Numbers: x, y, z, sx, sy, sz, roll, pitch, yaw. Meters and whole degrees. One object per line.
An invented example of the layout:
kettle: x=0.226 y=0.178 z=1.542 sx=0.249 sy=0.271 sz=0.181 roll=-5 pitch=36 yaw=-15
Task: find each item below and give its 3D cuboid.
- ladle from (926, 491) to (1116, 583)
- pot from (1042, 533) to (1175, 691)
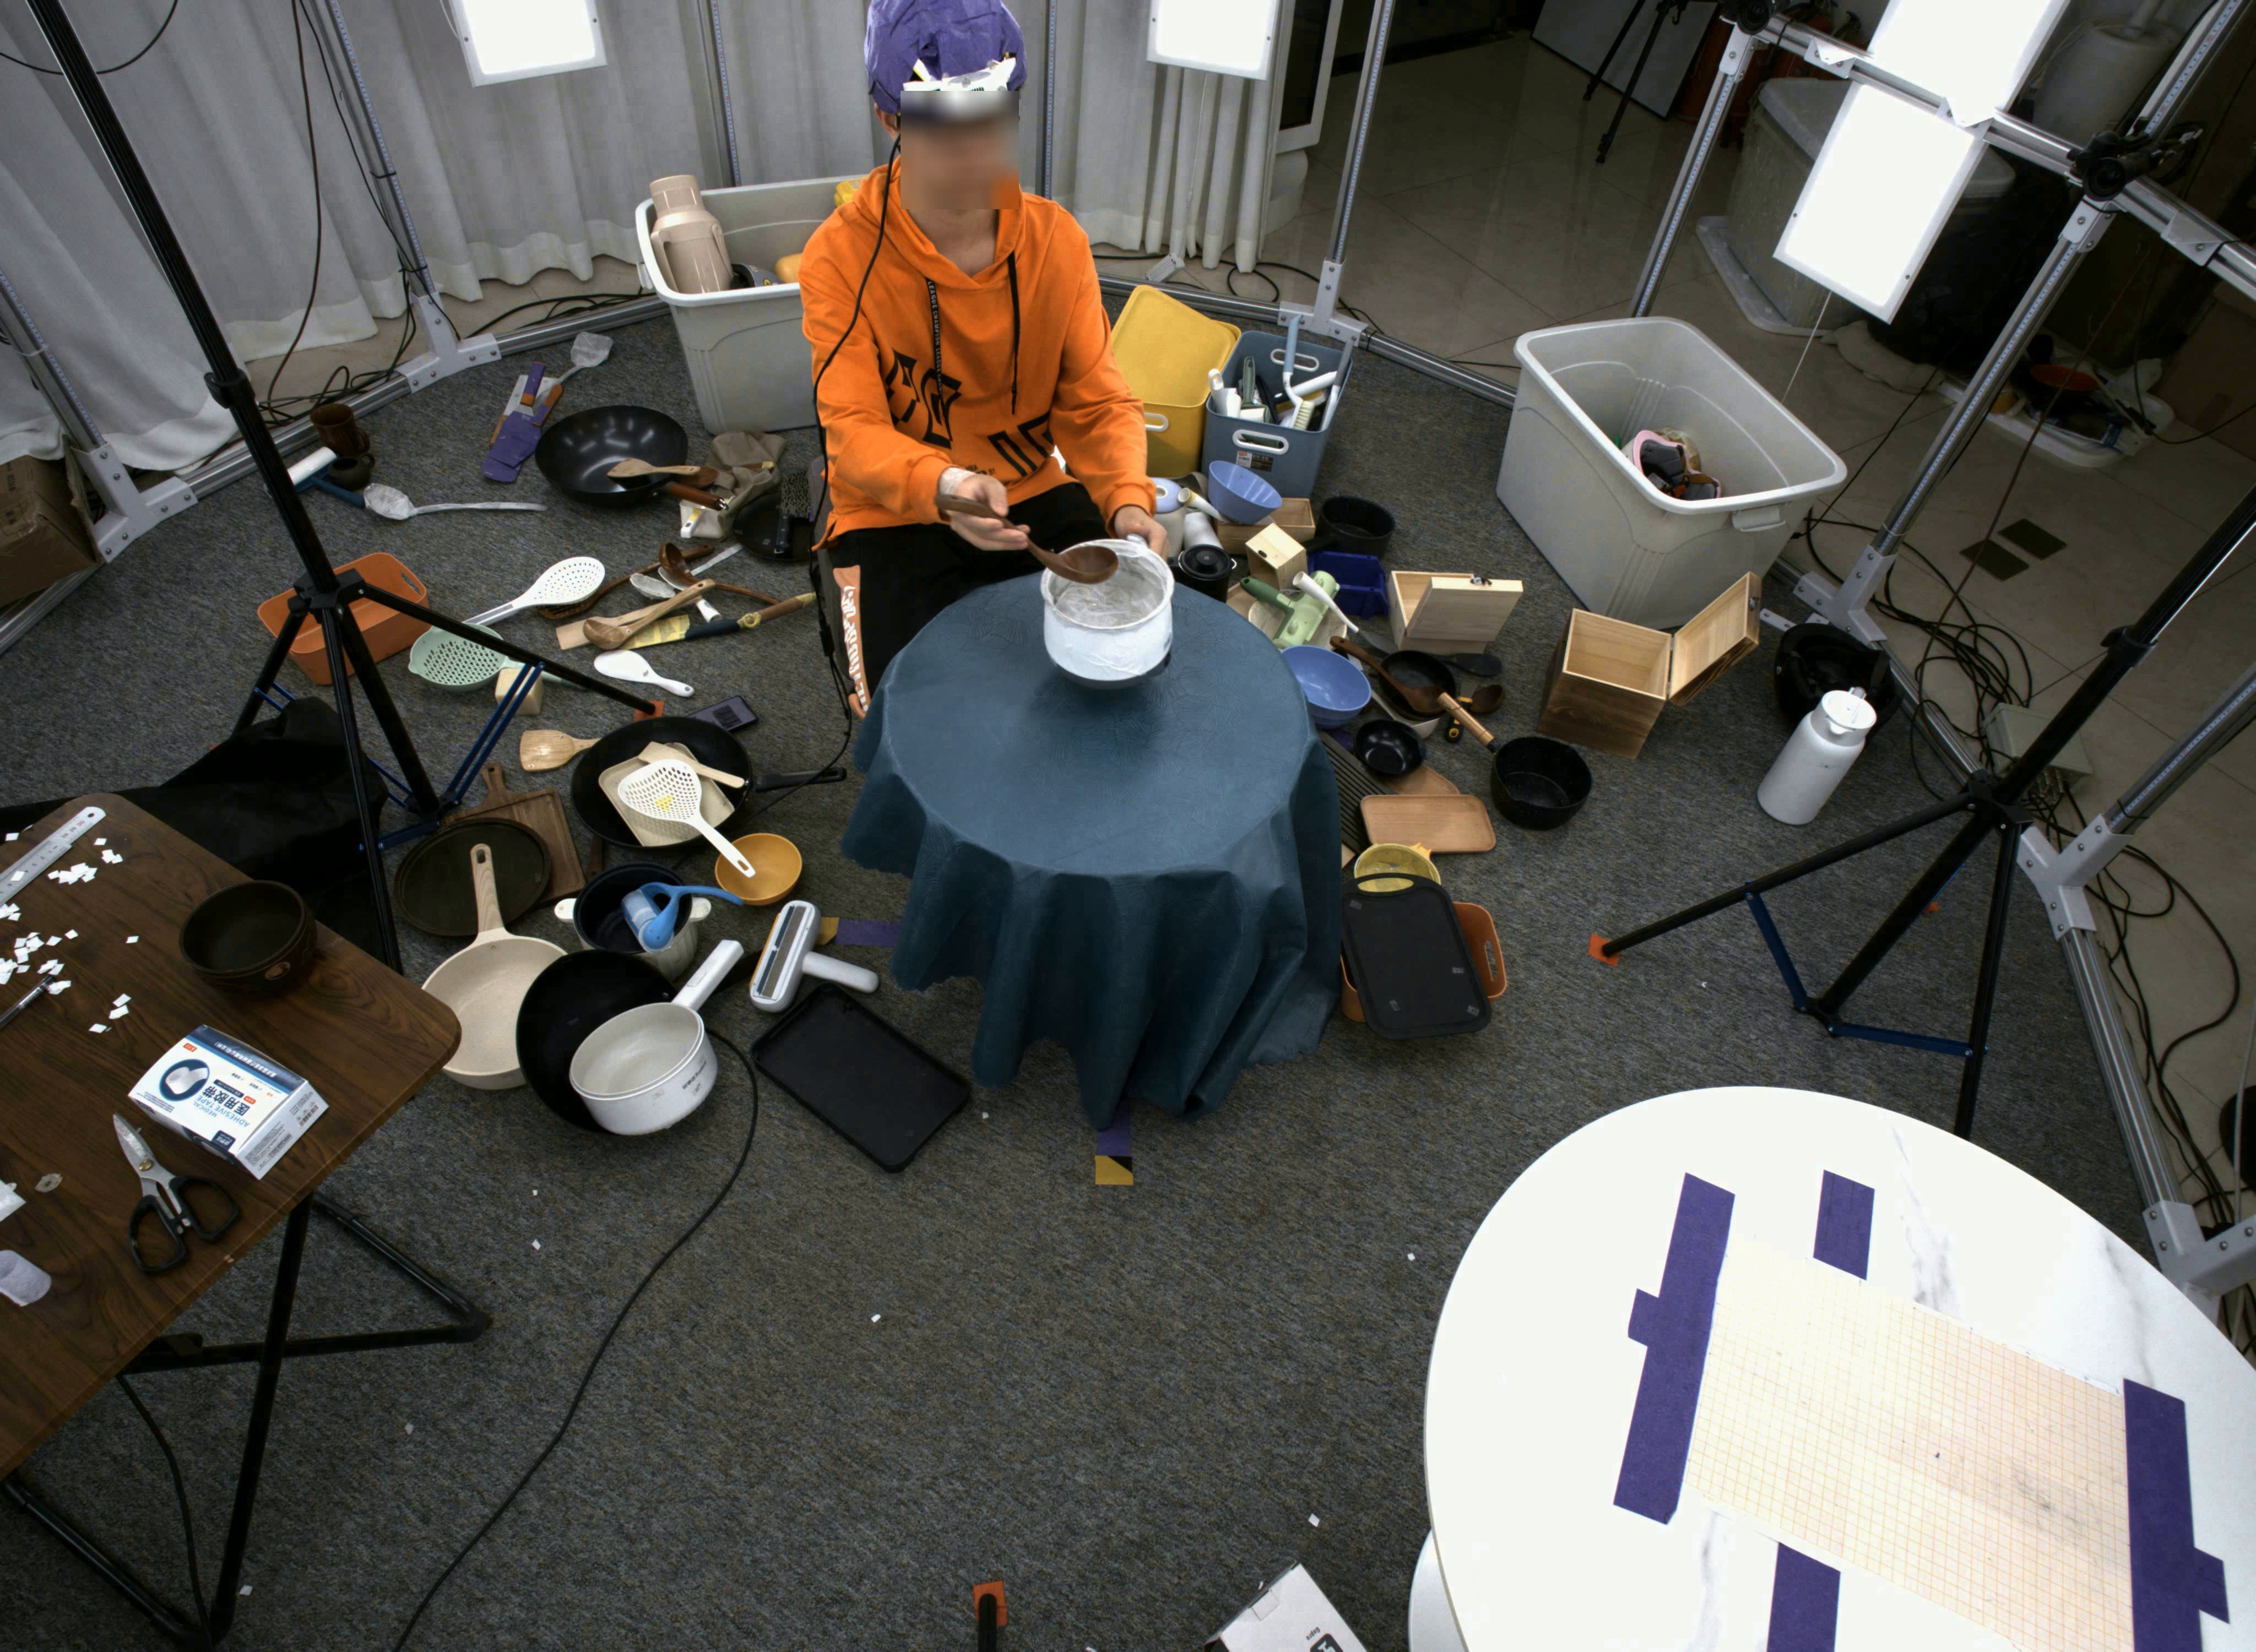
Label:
ladle: x=-0.128 y=-0.372 z=1.610 sx=0.257 sy=0.064 sz=0.078 roll=24 pitch=19 yaw=-33
pot: x=-0.017 y=-0.305 z=1.772 sx=0.179 sy=0.133 sz=0.238 roll=15 pitch=53 yaw=12
